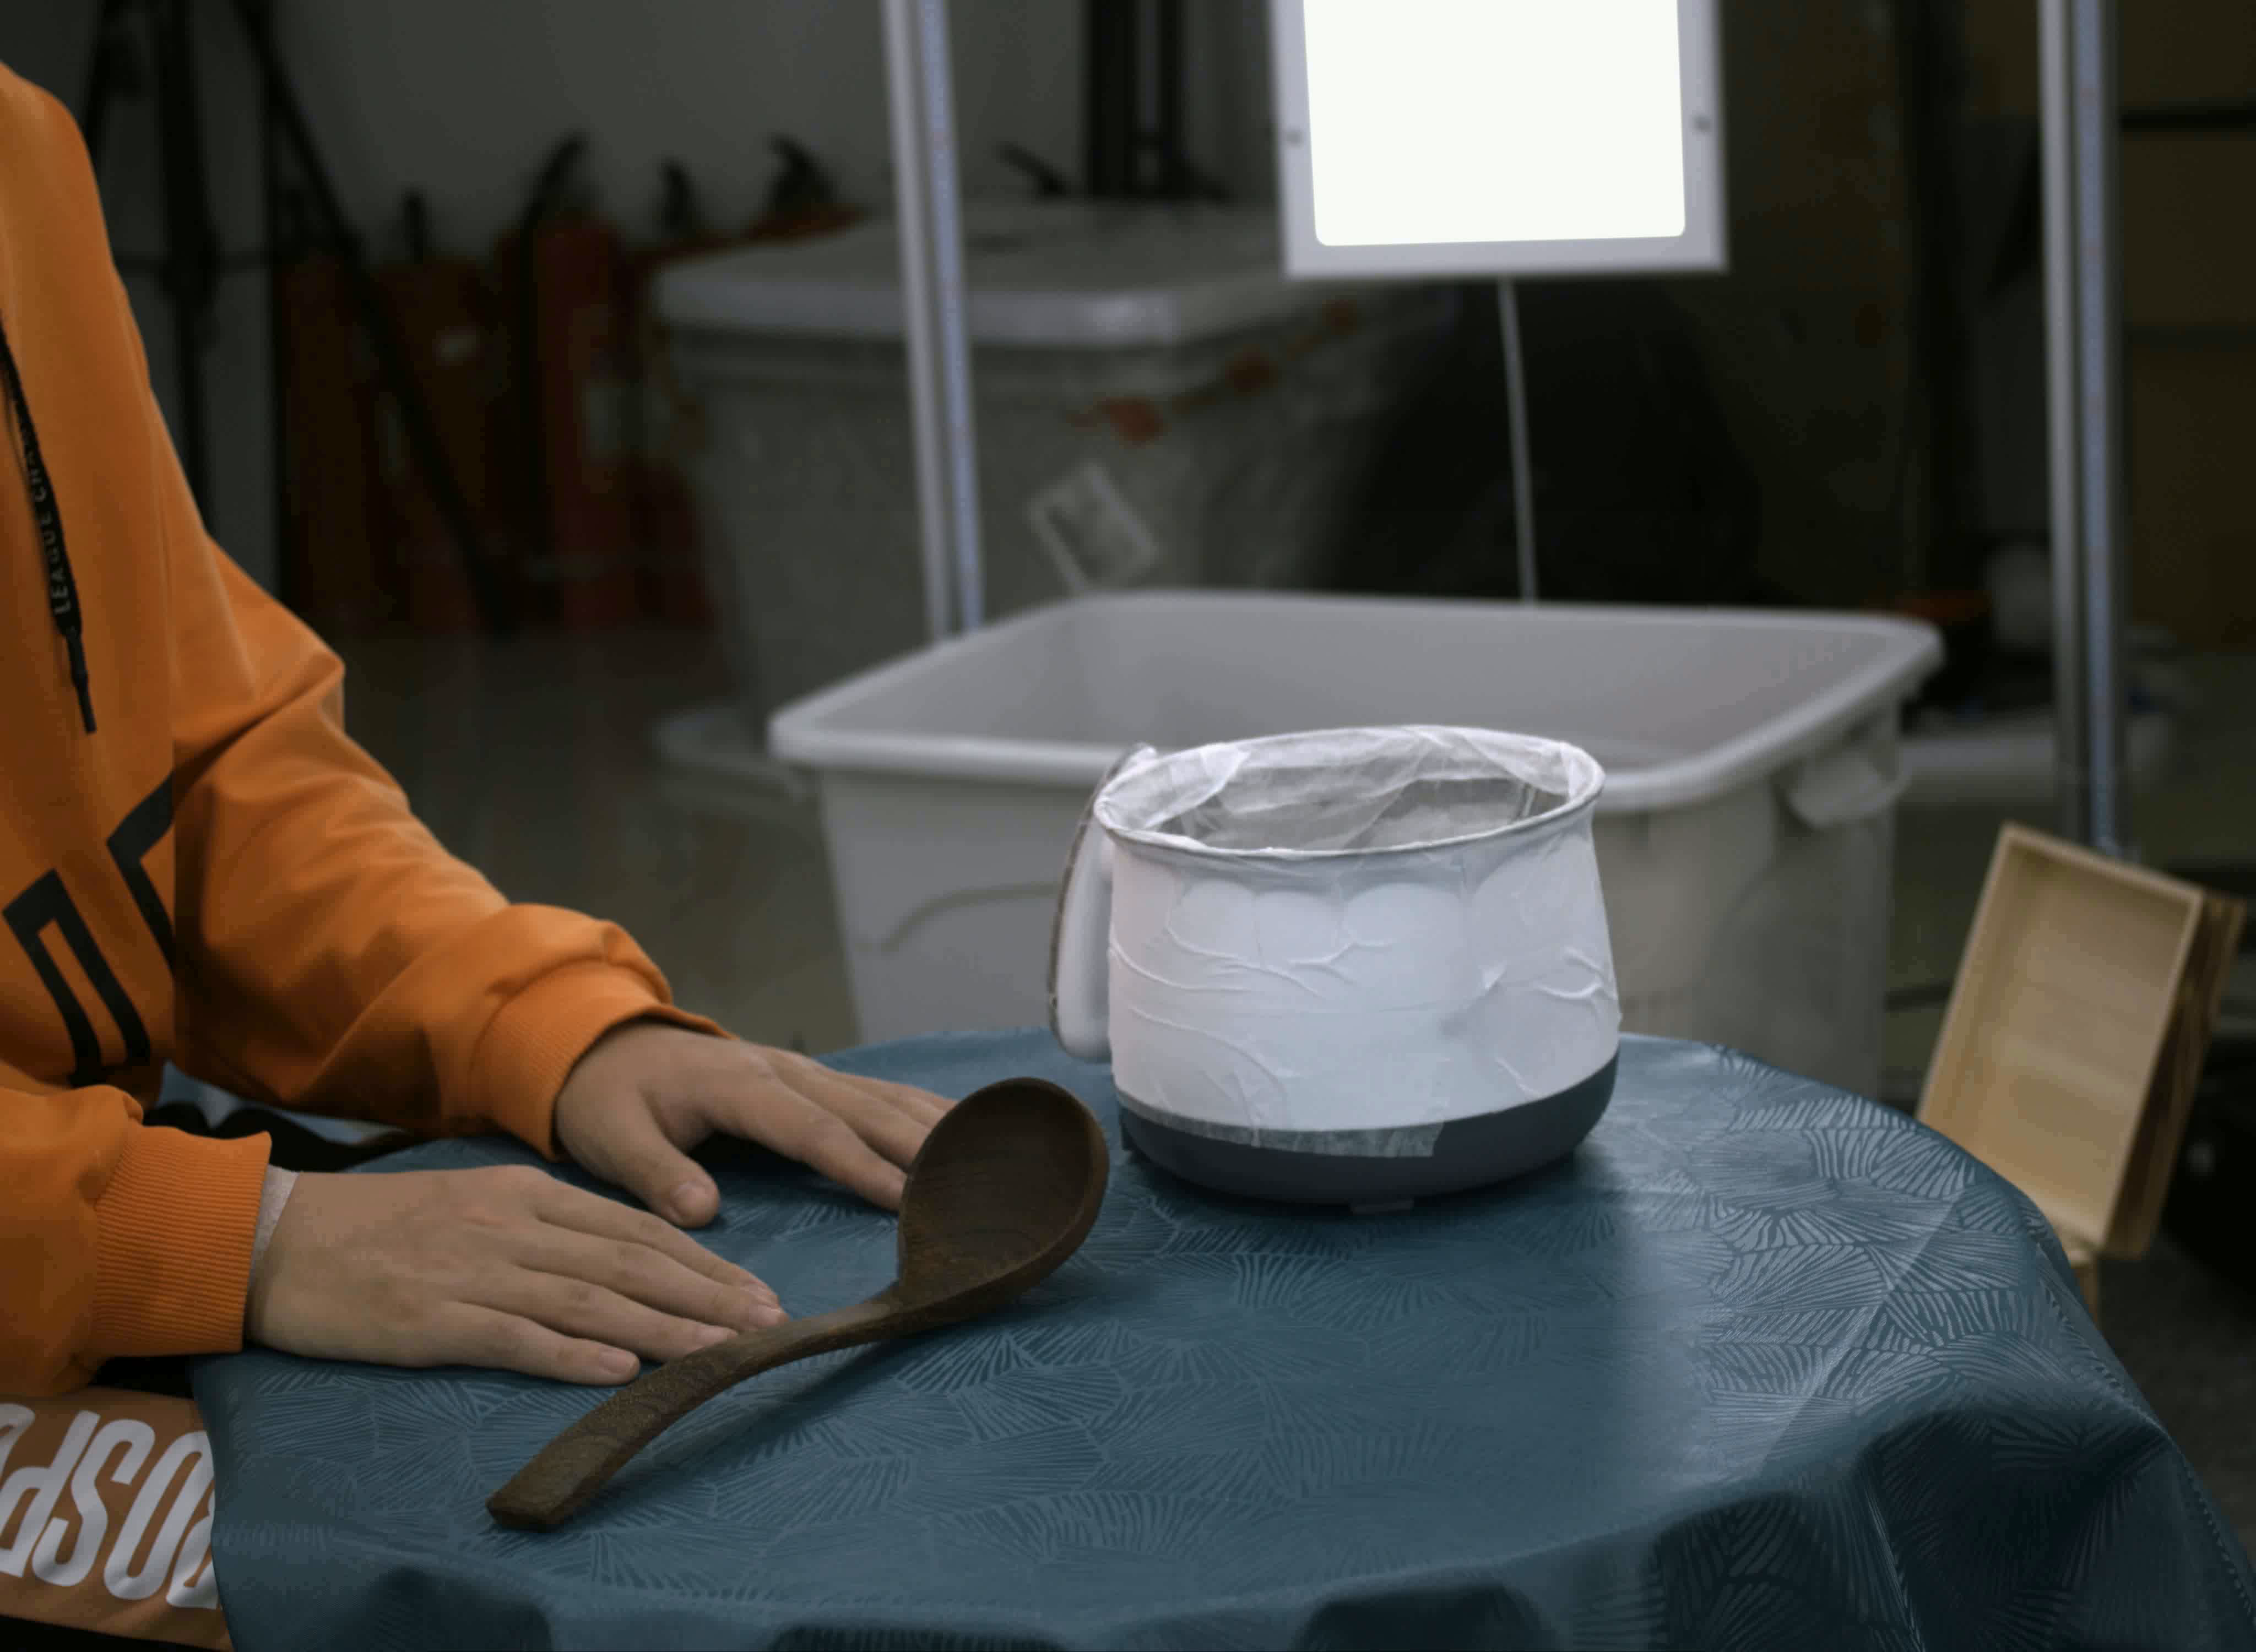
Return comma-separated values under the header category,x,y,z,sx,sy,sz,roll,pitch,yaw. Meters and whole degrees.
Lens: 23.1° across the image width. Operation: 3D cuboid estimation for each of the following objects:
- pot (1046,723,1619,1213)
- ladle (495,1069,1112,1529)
category,x,y,z,sx,sy,sz,roll,pitch,yaw
pot,0.060,0.044,1.920,0.239,0.137,0.174,9,19,43
ladle,-0.102,0.143,1.723,0.077,0.071,0.267,3,15,38
